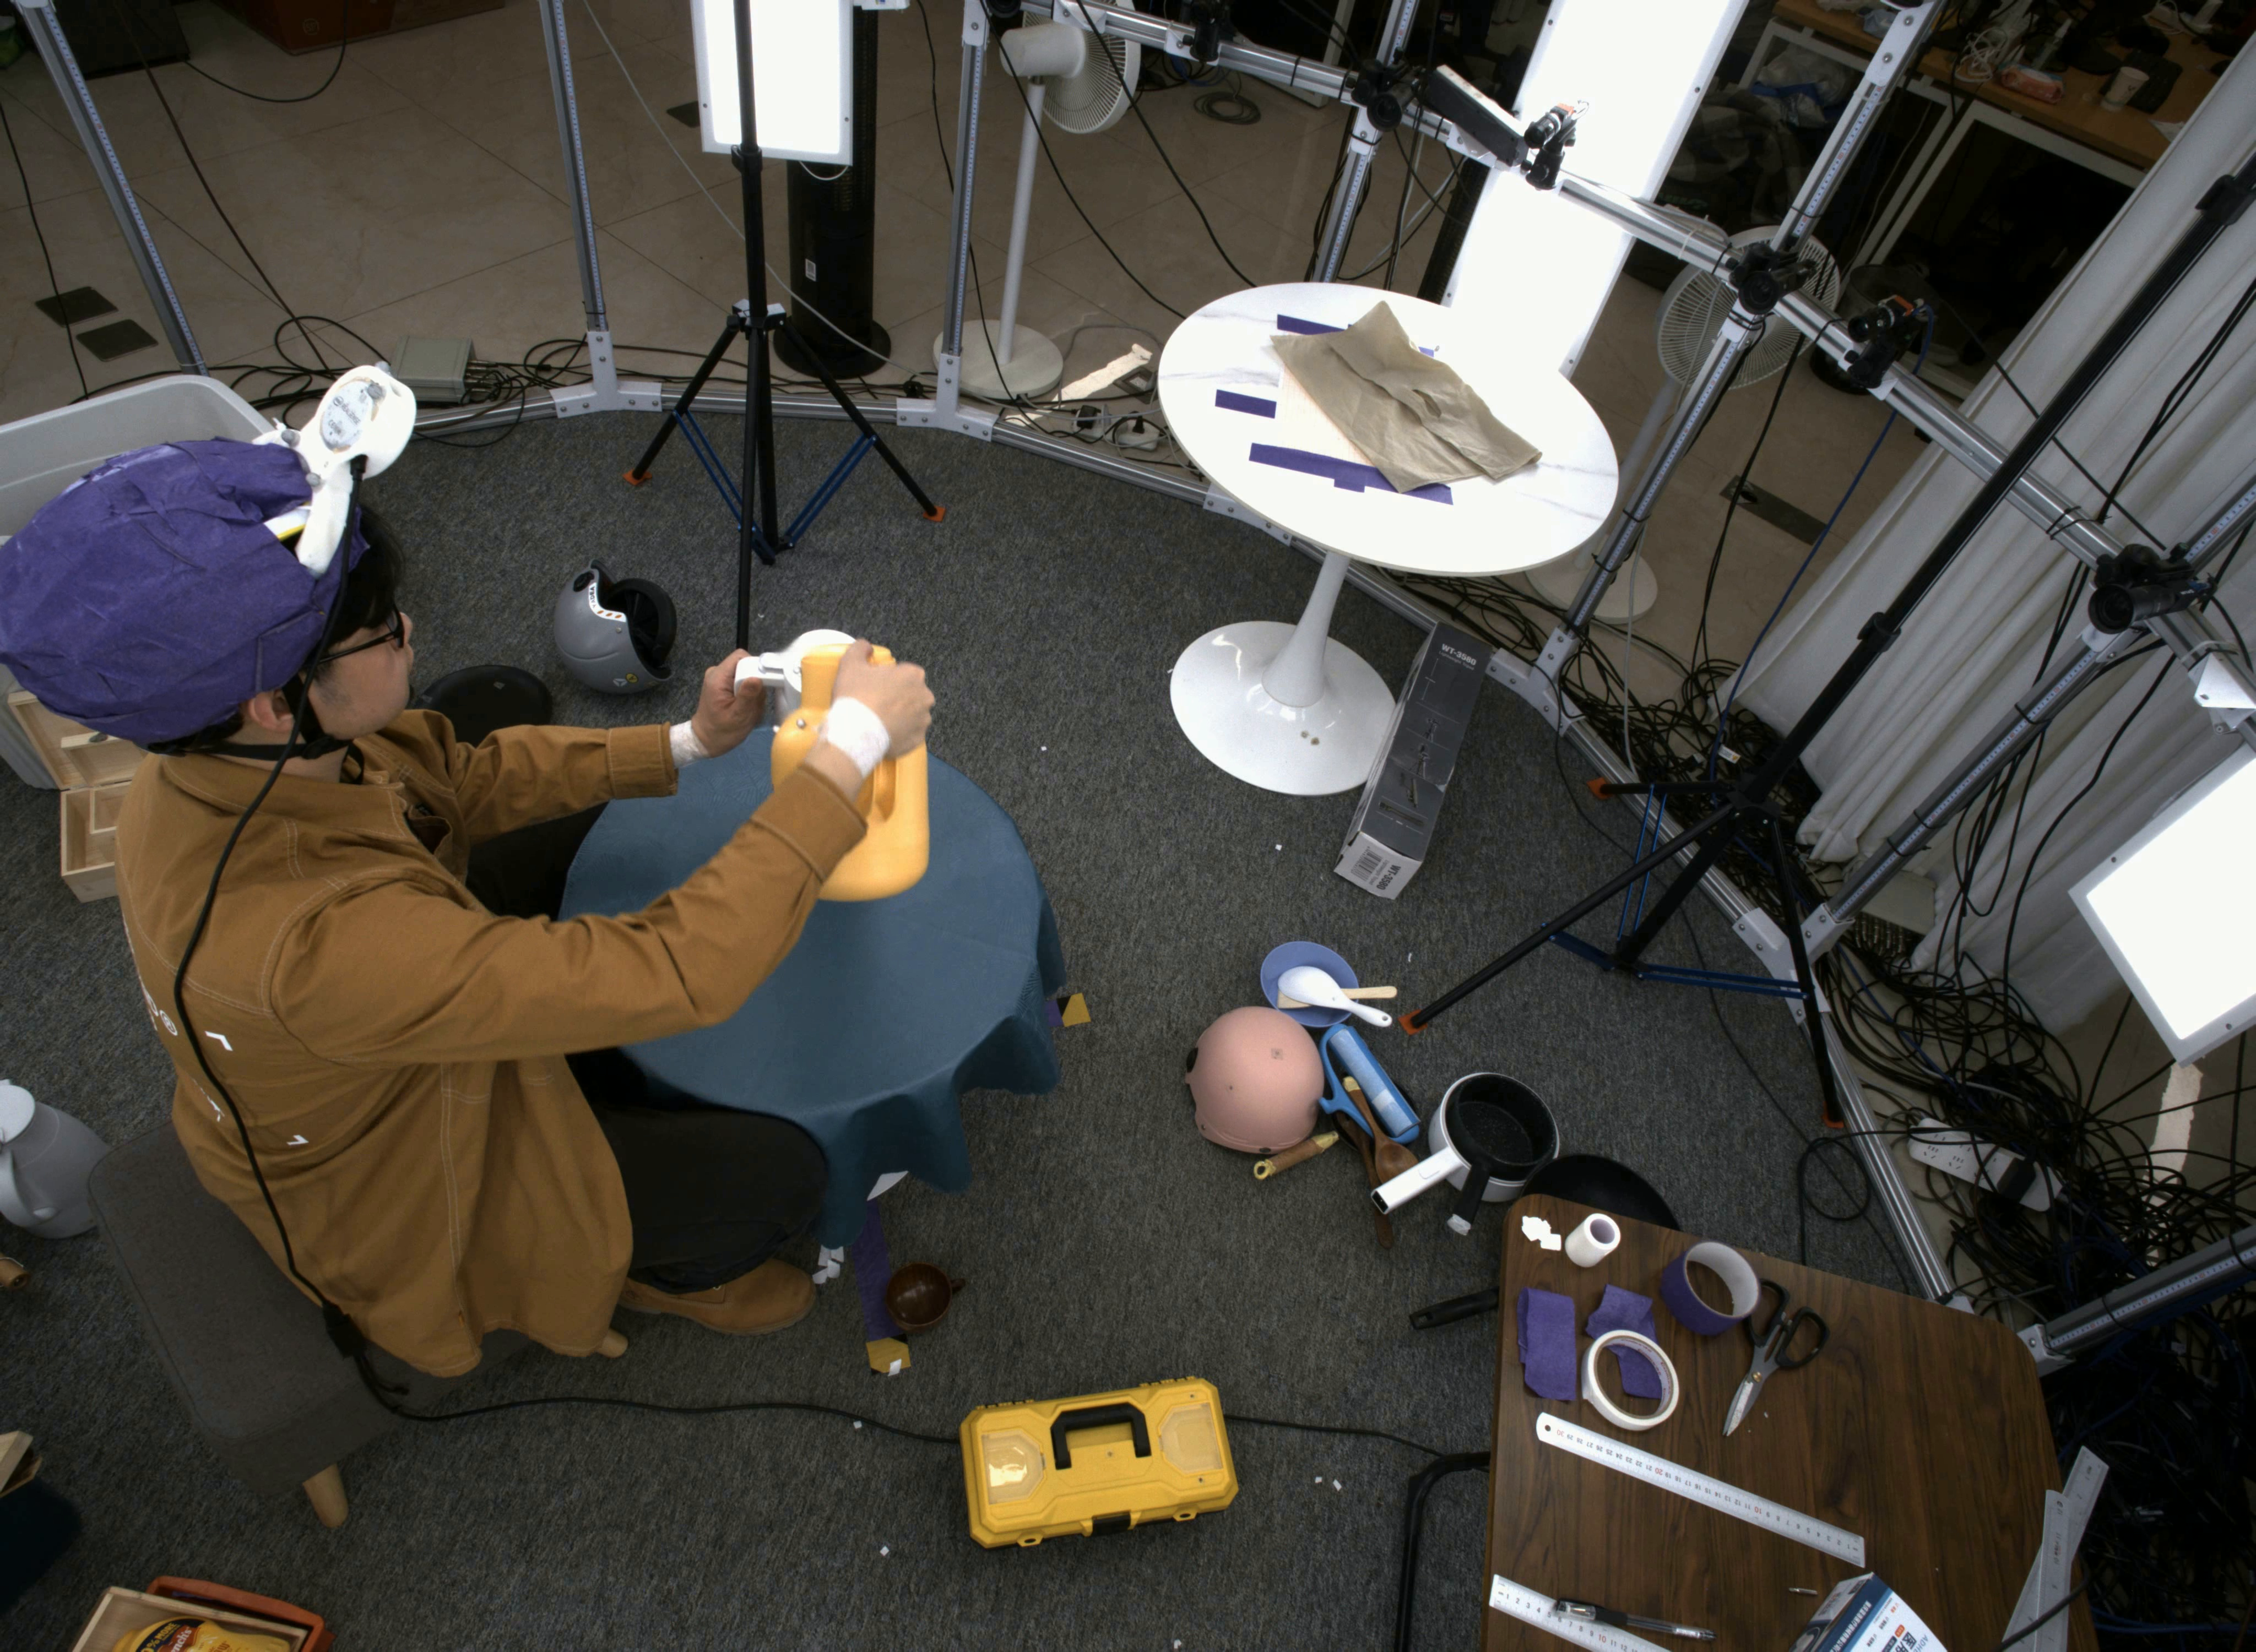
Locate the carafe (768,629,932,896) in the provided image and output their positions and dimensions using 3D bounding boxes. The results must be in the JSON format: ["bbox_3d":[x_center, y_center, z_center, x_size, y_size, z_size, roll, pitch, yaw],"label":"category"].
[{"bbox_3d":[-0.282,-0.064,1.321,0.165,0.267,0.196,-9,17,-25],"label":"carafe"}]

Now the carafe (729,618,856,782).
[{"bbox_3d":[-0.391,-0.126,1.569,0.173,0.272,0.122,2,62,-13],"label":"carafe"}]
